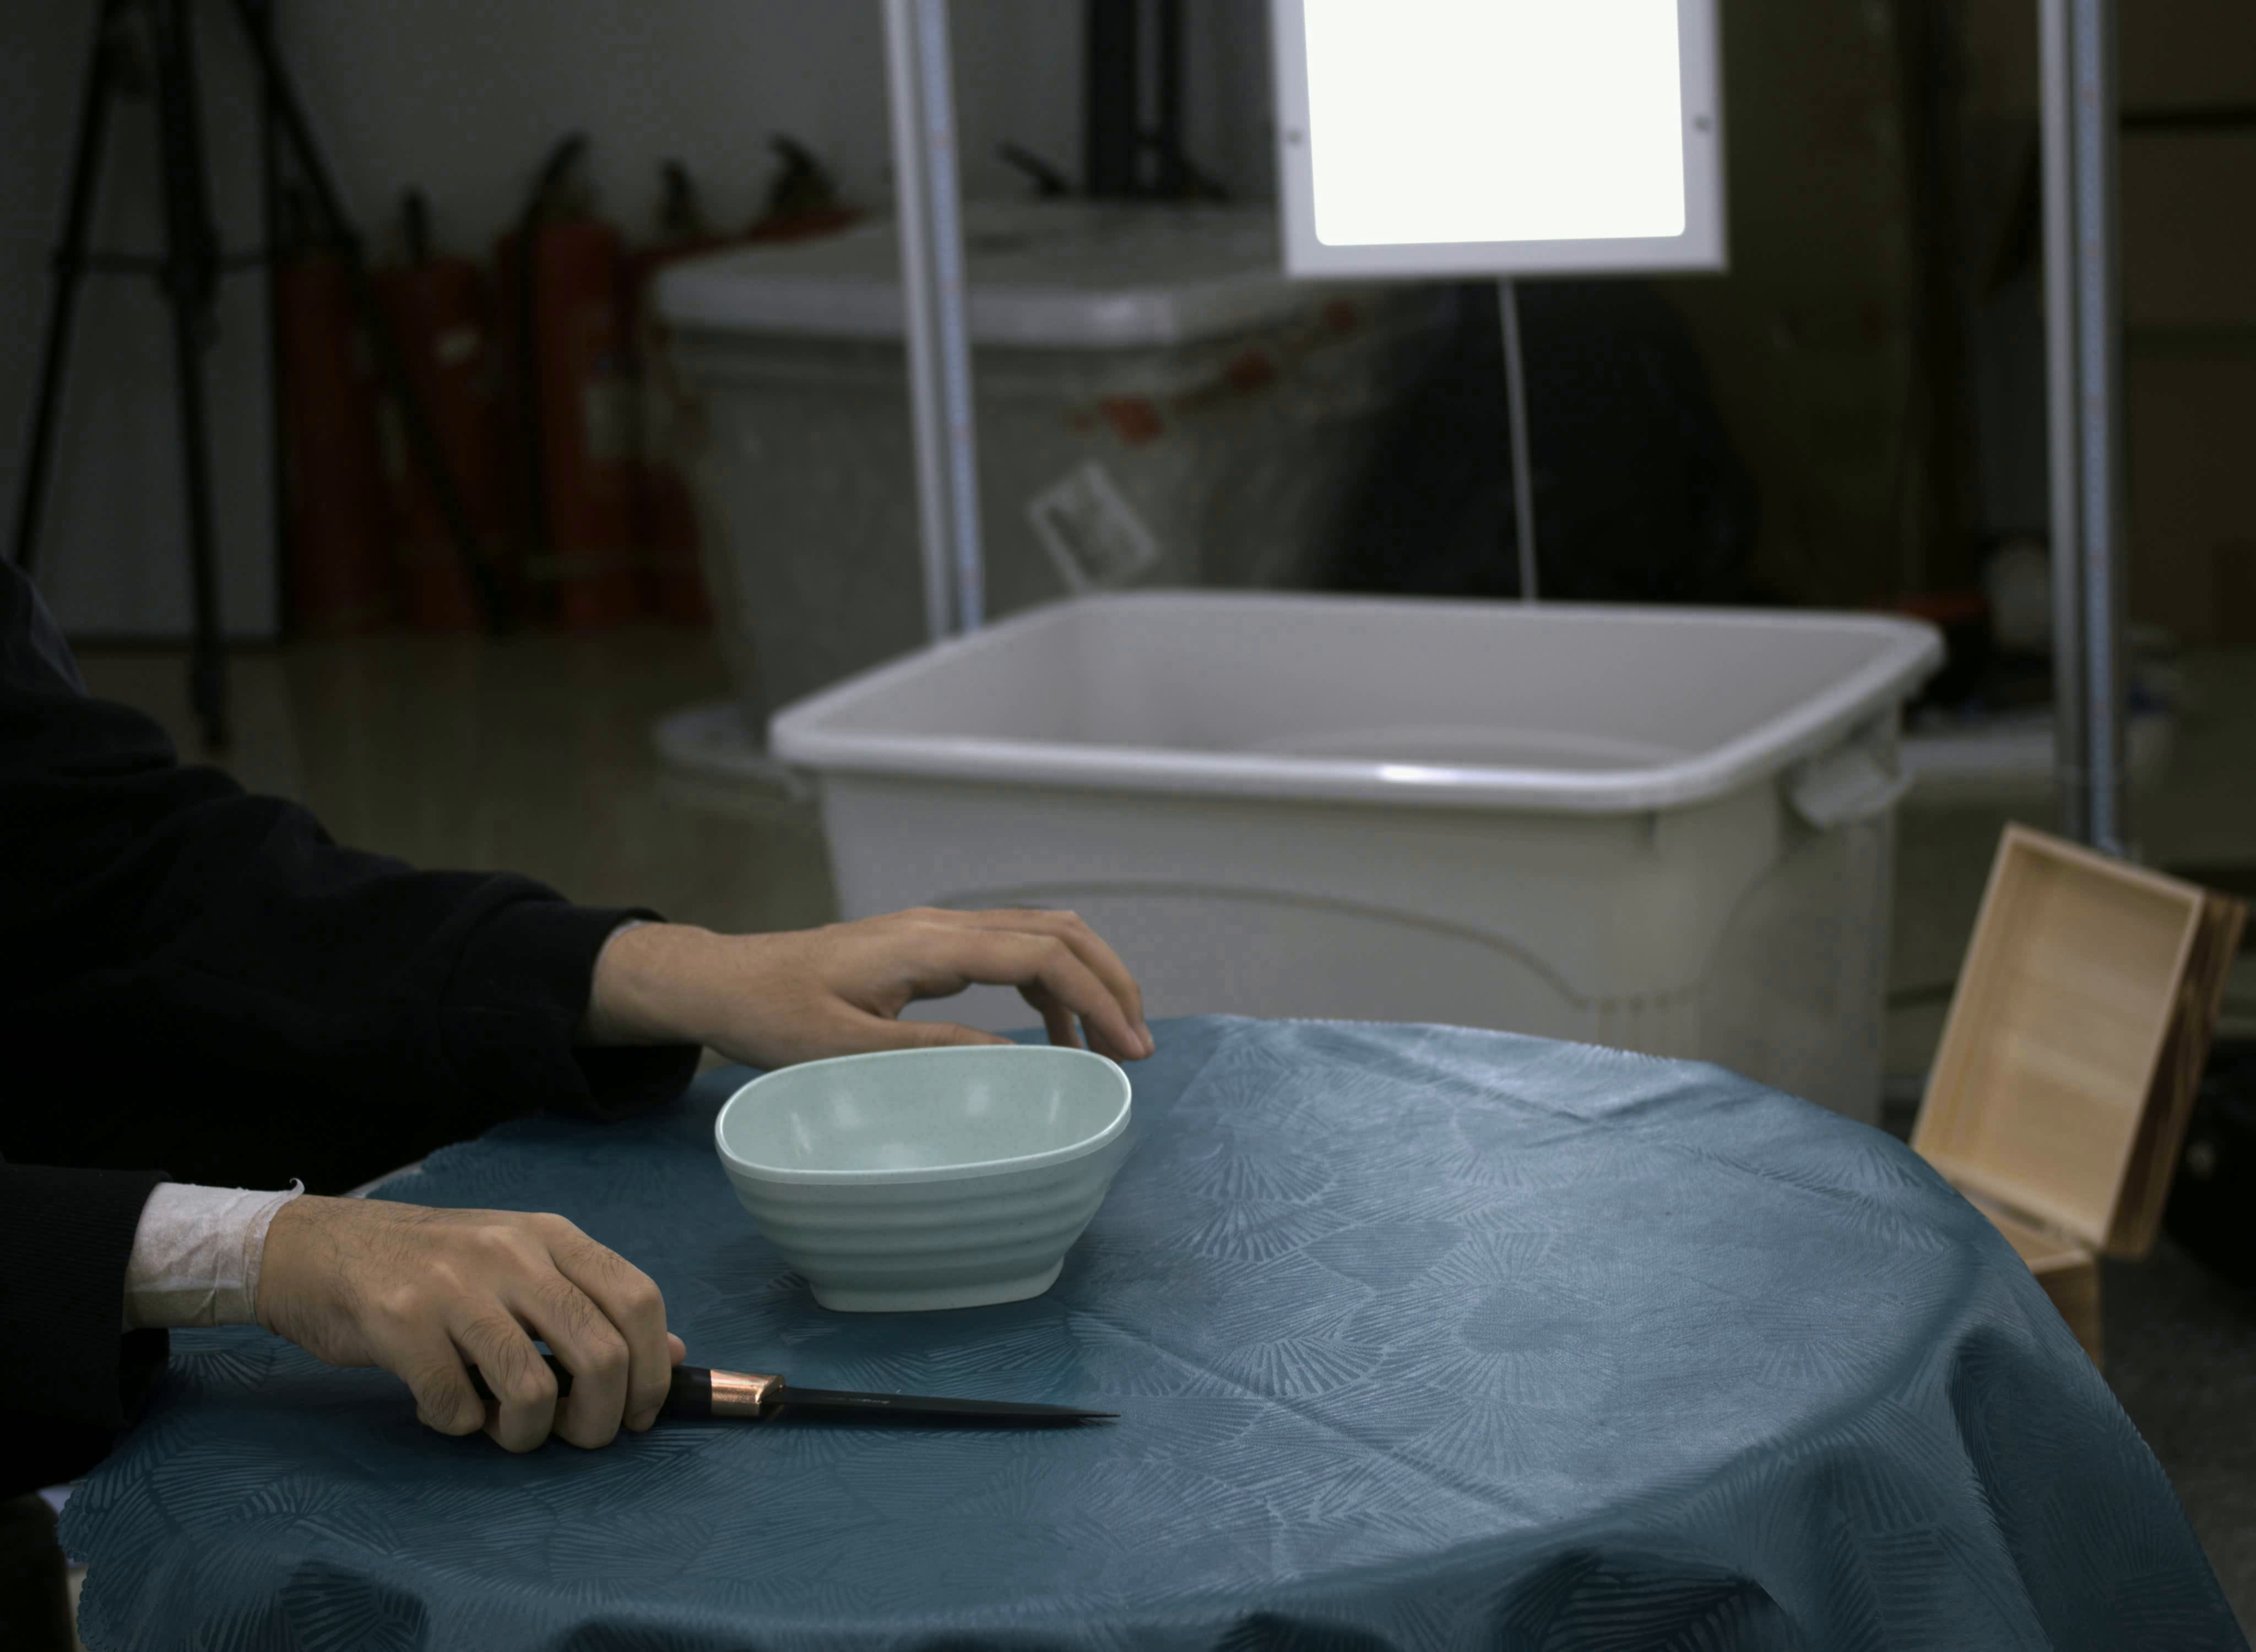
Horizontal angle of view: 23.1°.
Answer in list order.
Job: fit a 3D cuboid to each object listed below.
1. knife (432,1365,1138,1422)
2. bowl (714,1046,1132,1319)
[{"bbox_3d":[-0.107,0.177,1.710,0.228,0.017,0.026,0,4,16],"label":"knife"},{"bbox_3d":[-0.066,0.121,1.827,0.151,0.059,0.151,-5,15,0],"label":"bowl"}]
